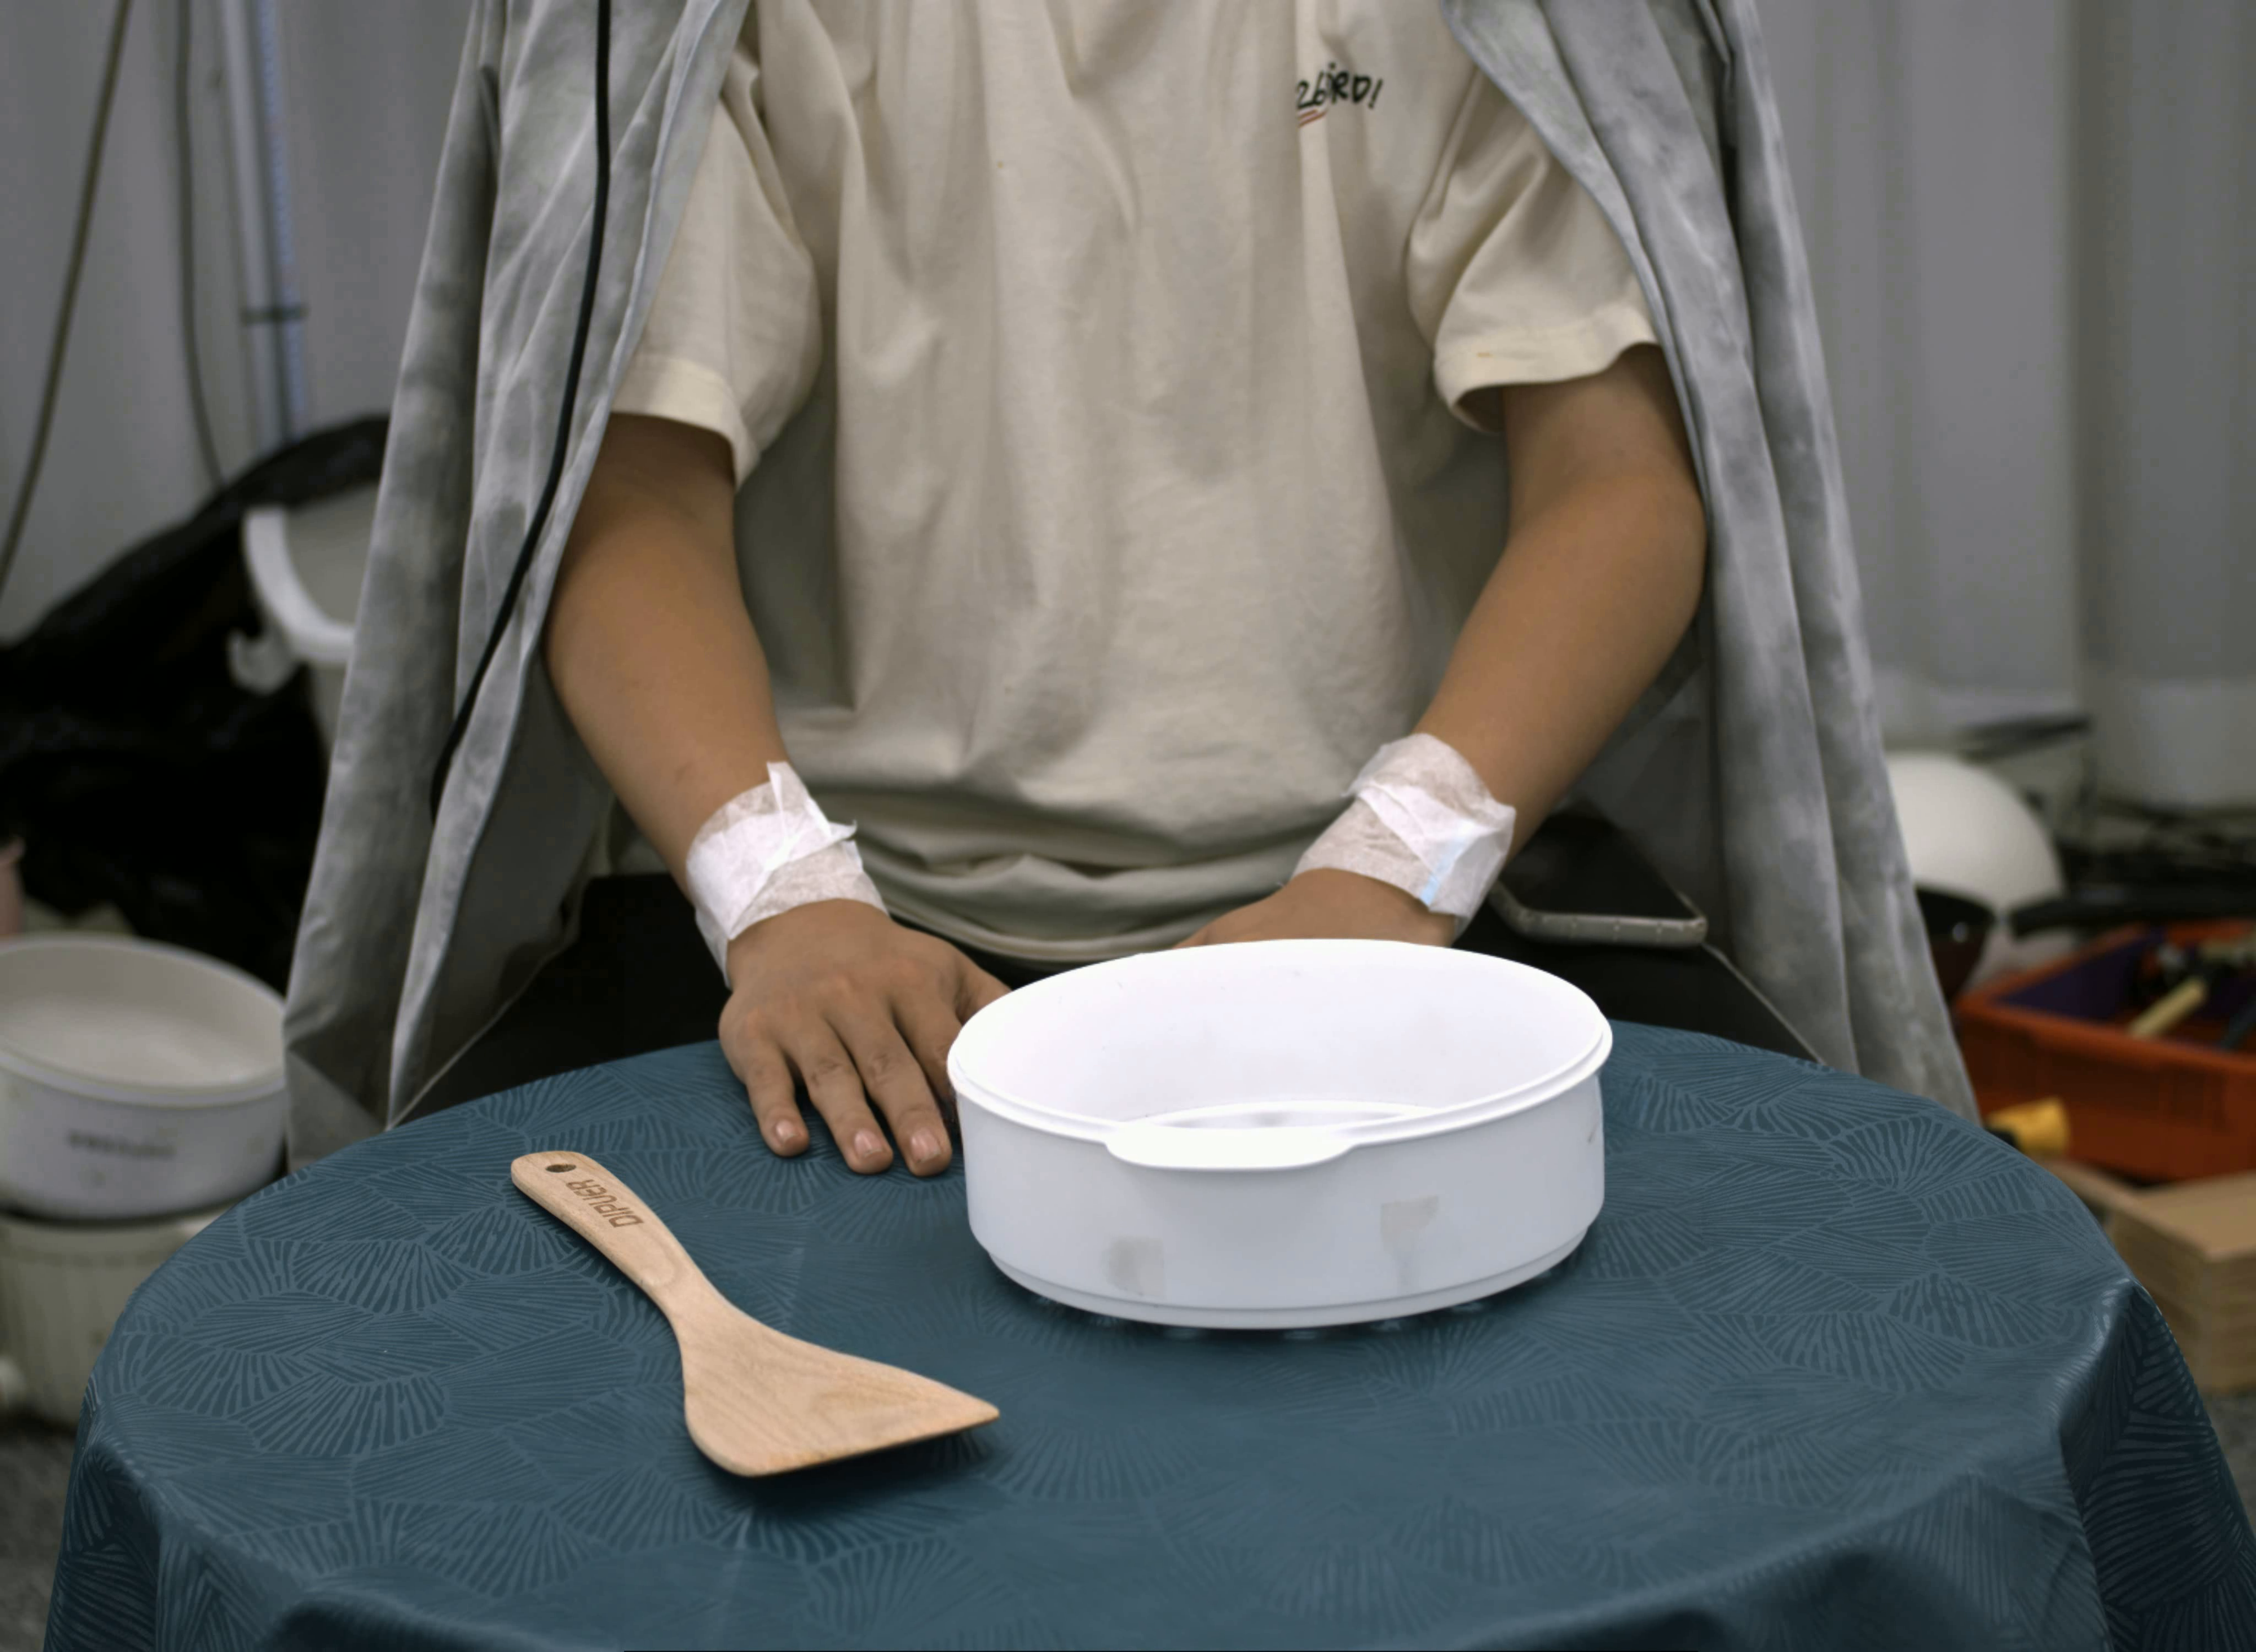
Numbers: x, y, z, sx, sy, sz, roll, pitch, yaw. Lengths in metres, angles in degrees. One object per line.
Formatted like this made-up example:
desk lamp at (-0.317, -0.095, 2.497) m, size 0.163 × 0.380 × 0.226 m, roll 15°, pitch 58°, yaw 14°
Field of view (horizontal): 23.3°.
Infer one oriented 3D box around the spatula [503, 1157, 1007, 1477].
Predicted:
spatula at (-0.126, 0.140, 1.616) m, size 0.079 × 0.016 × 0.330 m, roll -8°, pitch 15°, yaw -22°

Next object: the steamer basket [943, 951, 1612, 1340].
steamer basket at (0.045, 0.096, 1.654) m, size 0.201 × 0.069 × 0.231 m, roll 2°, pitch 15°, yaw 11°
